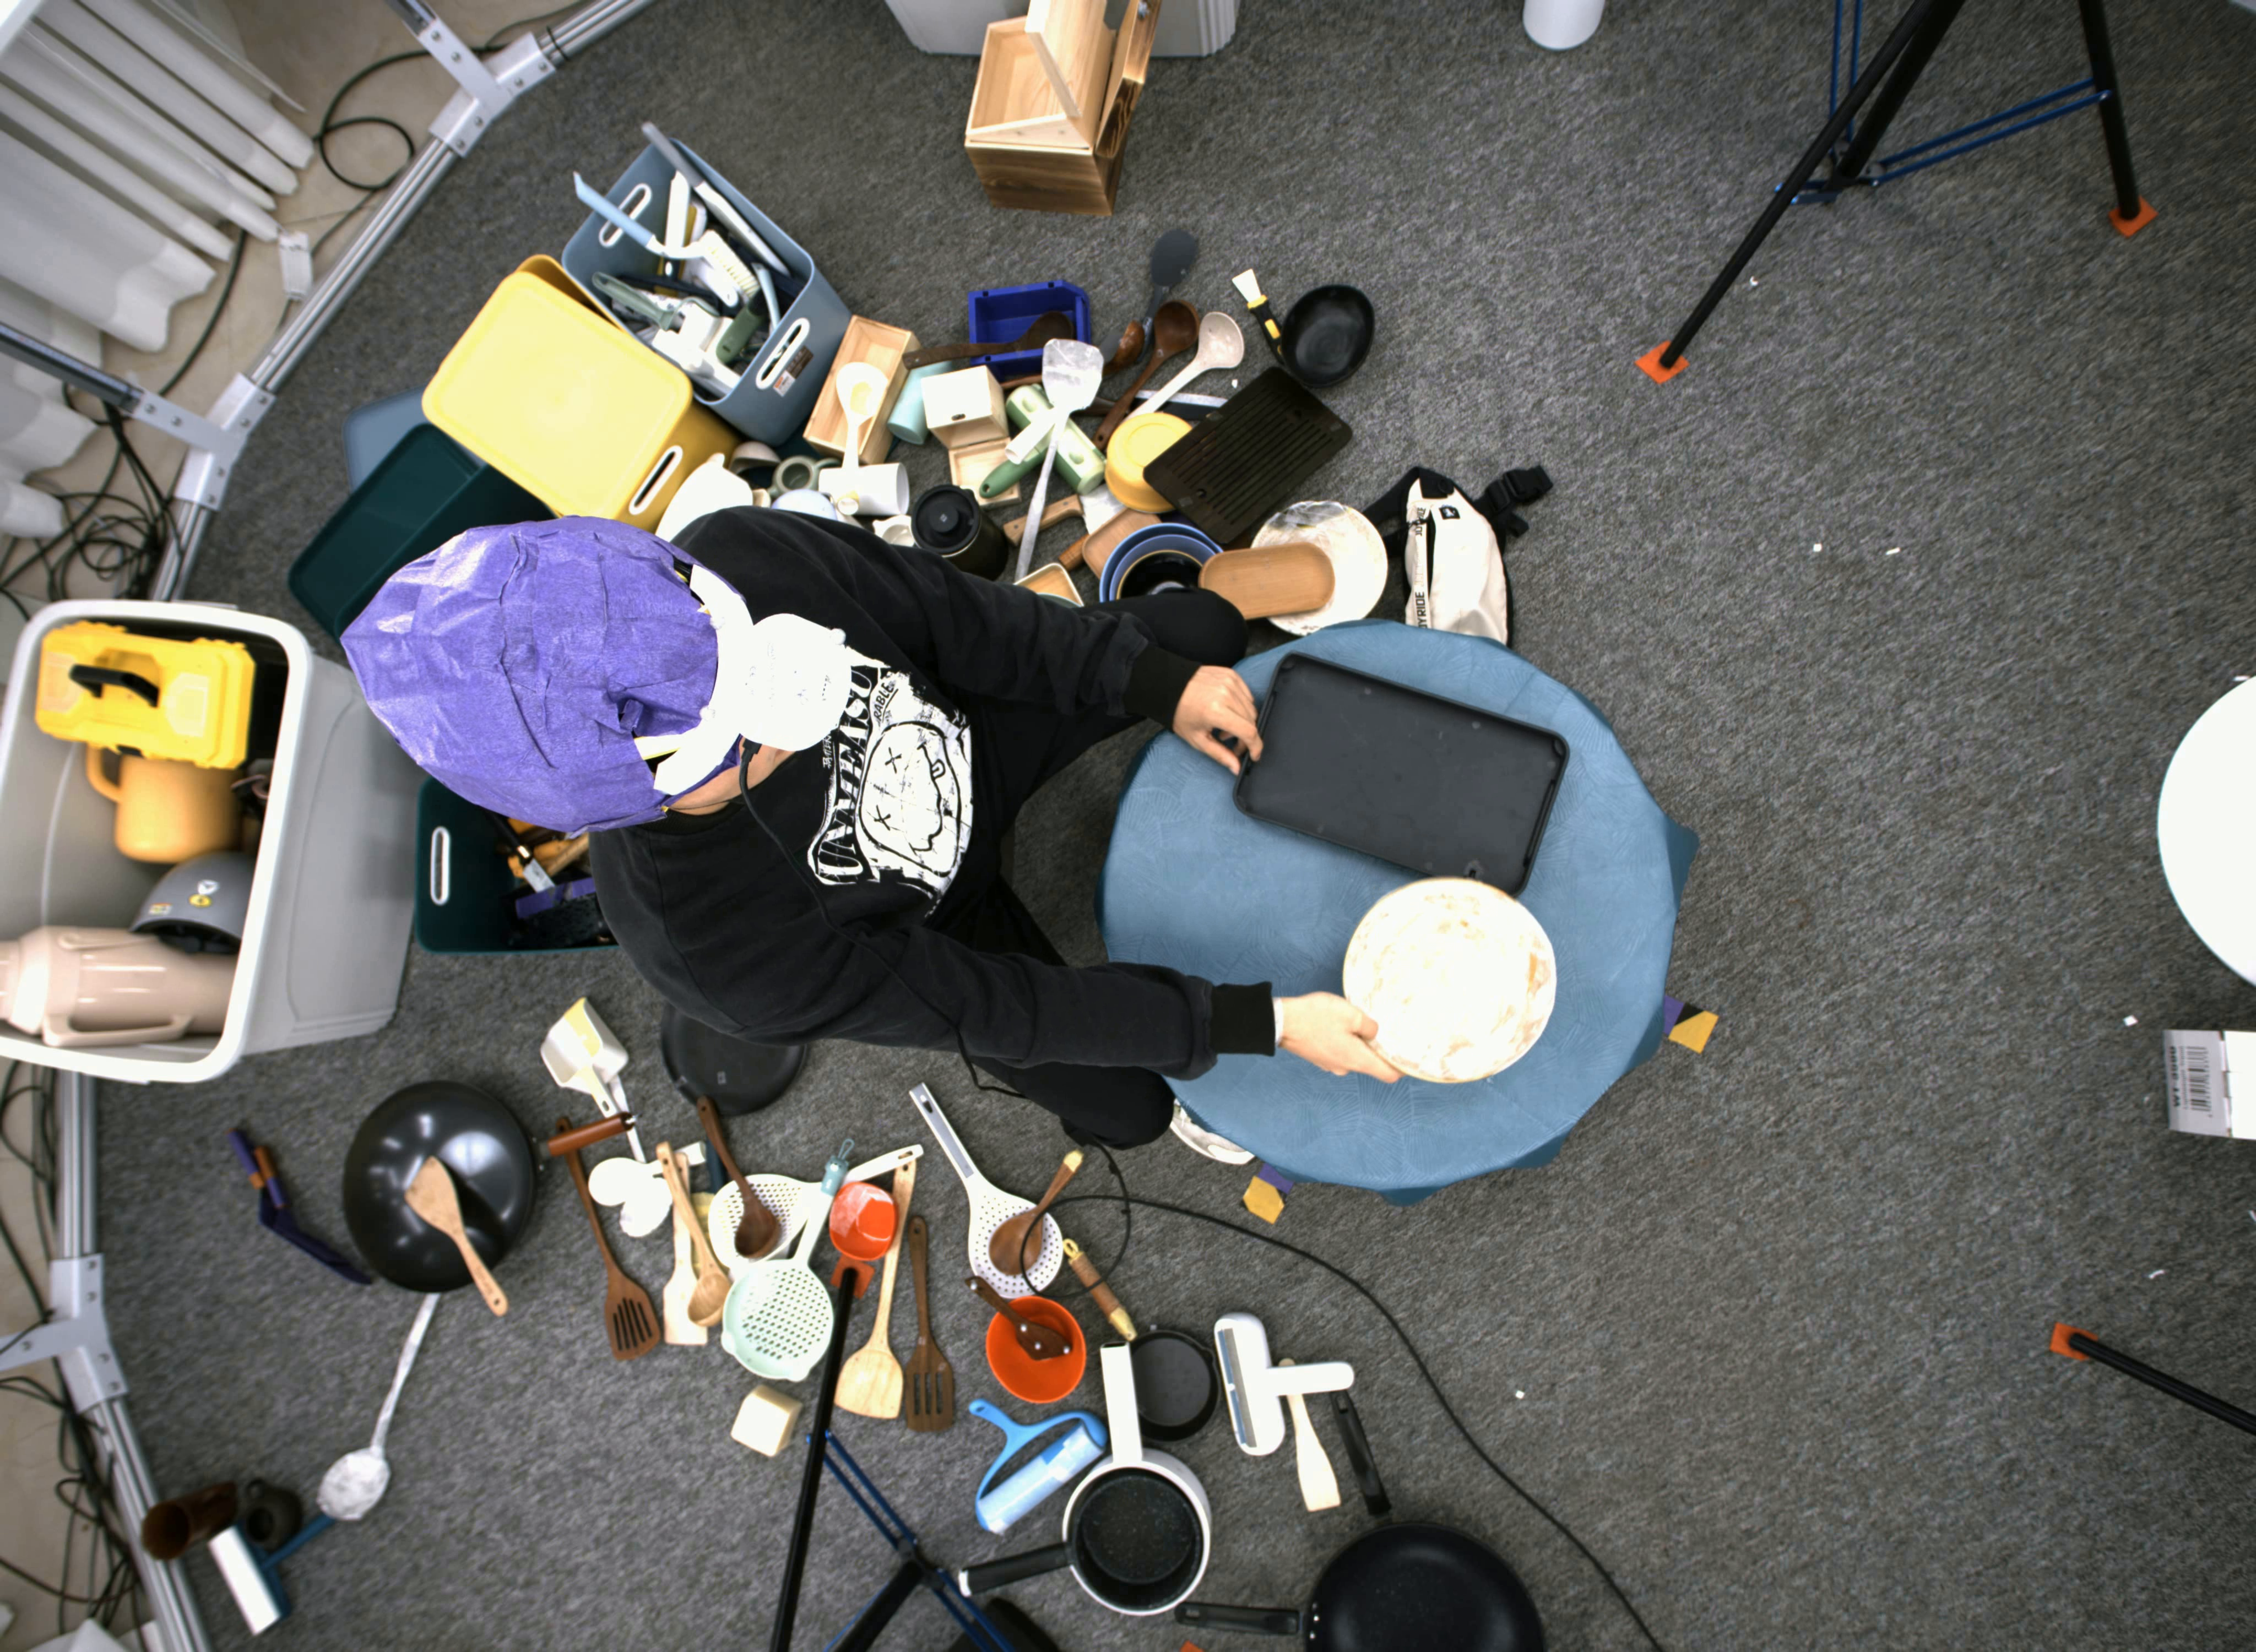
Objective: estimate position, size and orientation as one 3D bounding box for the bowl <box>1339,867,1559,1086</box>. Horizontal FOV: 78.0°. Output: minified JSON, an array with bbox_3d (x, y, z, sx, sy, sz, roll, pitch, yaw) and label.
[{"bbox_3d":[0.314,0.141,1.367,0.215,0.094,0.215,1,96,9],"label":"bowl"}]

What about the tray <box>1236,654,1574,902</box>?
[{"bbox_3d":[0.288,-0.051,1.447,0.318,0.037,0.184,20,91,11],"label":"tray"}]
